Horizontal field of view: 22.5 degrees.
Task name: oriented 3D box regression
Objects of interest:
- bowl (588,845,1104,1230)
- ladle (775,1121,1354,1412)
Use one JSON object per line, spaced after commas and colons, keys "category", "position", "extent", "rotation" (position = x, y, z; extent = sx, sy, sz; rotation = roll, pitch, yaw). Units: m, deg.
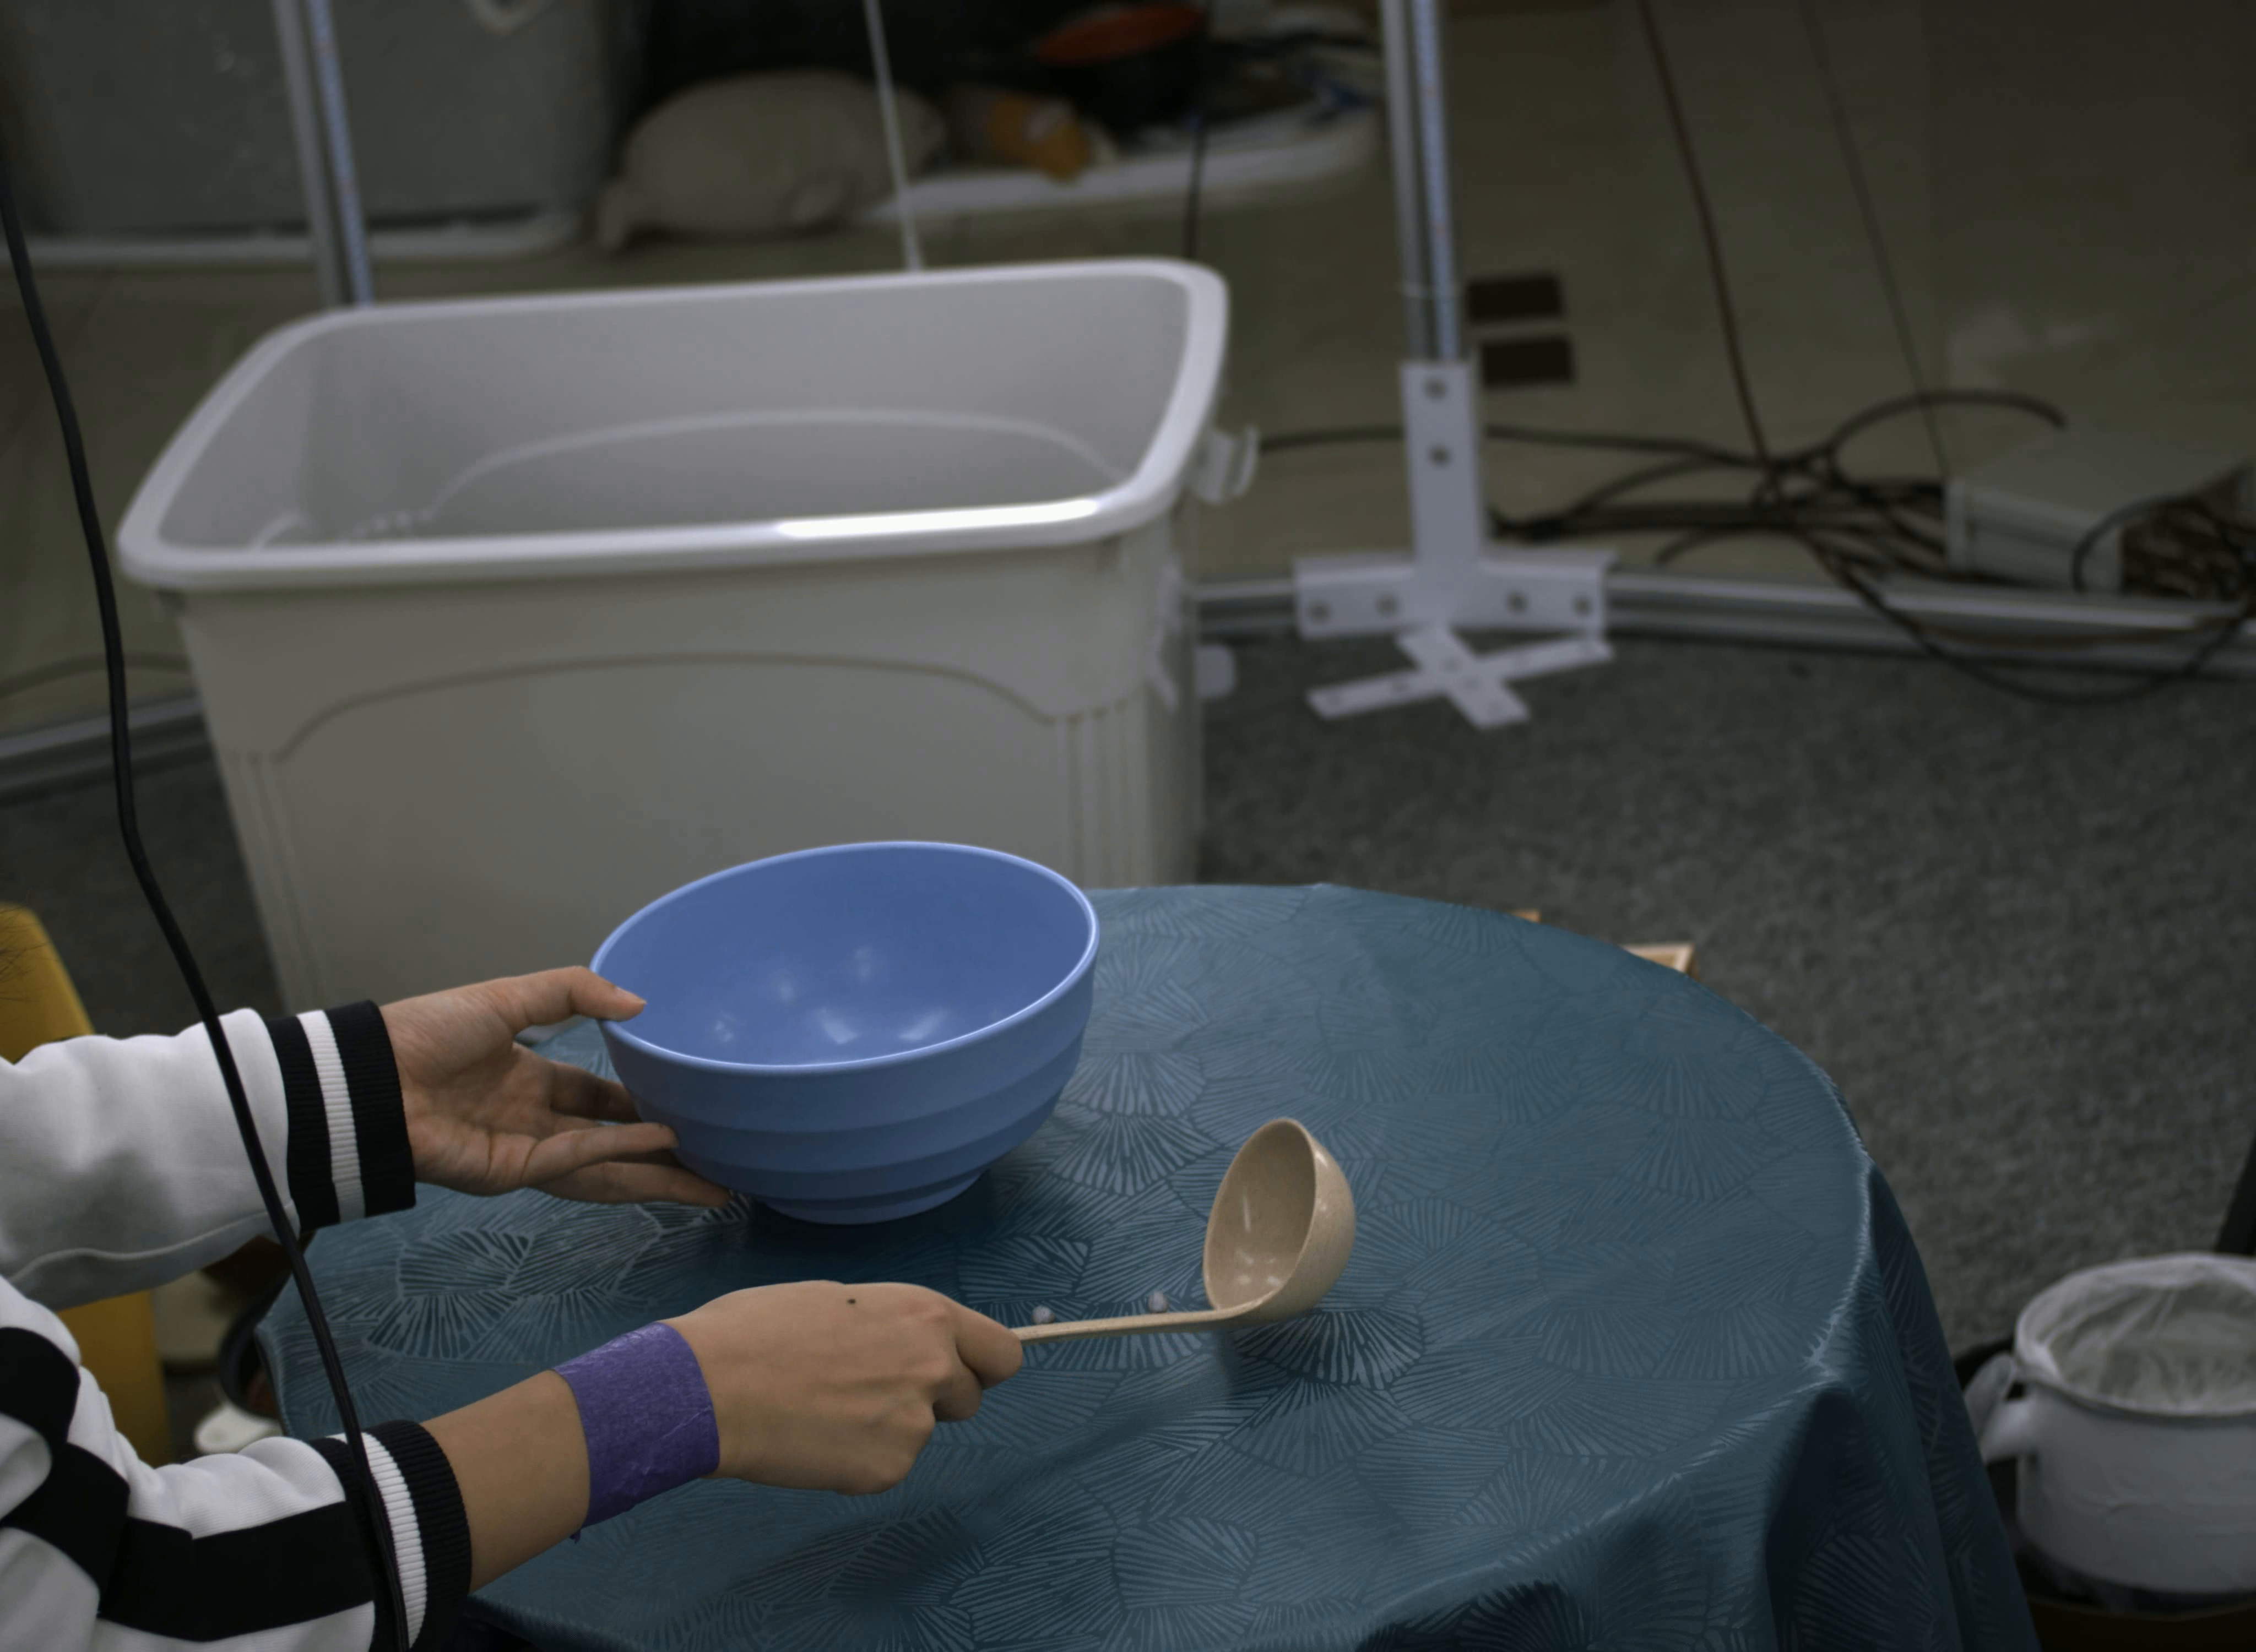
{"category": "bowl", "position": [-0.103, 0.091, 2.166], "extent": [0.196, 0.097, 0.193], "rotation": [-4, 26, 2]}
{"category": "ladle", "position": [-0.028, 0.151, 1.971], "extent": [0.254, 0.072, 0.073], "rotation": [-6, -17, -39]}
